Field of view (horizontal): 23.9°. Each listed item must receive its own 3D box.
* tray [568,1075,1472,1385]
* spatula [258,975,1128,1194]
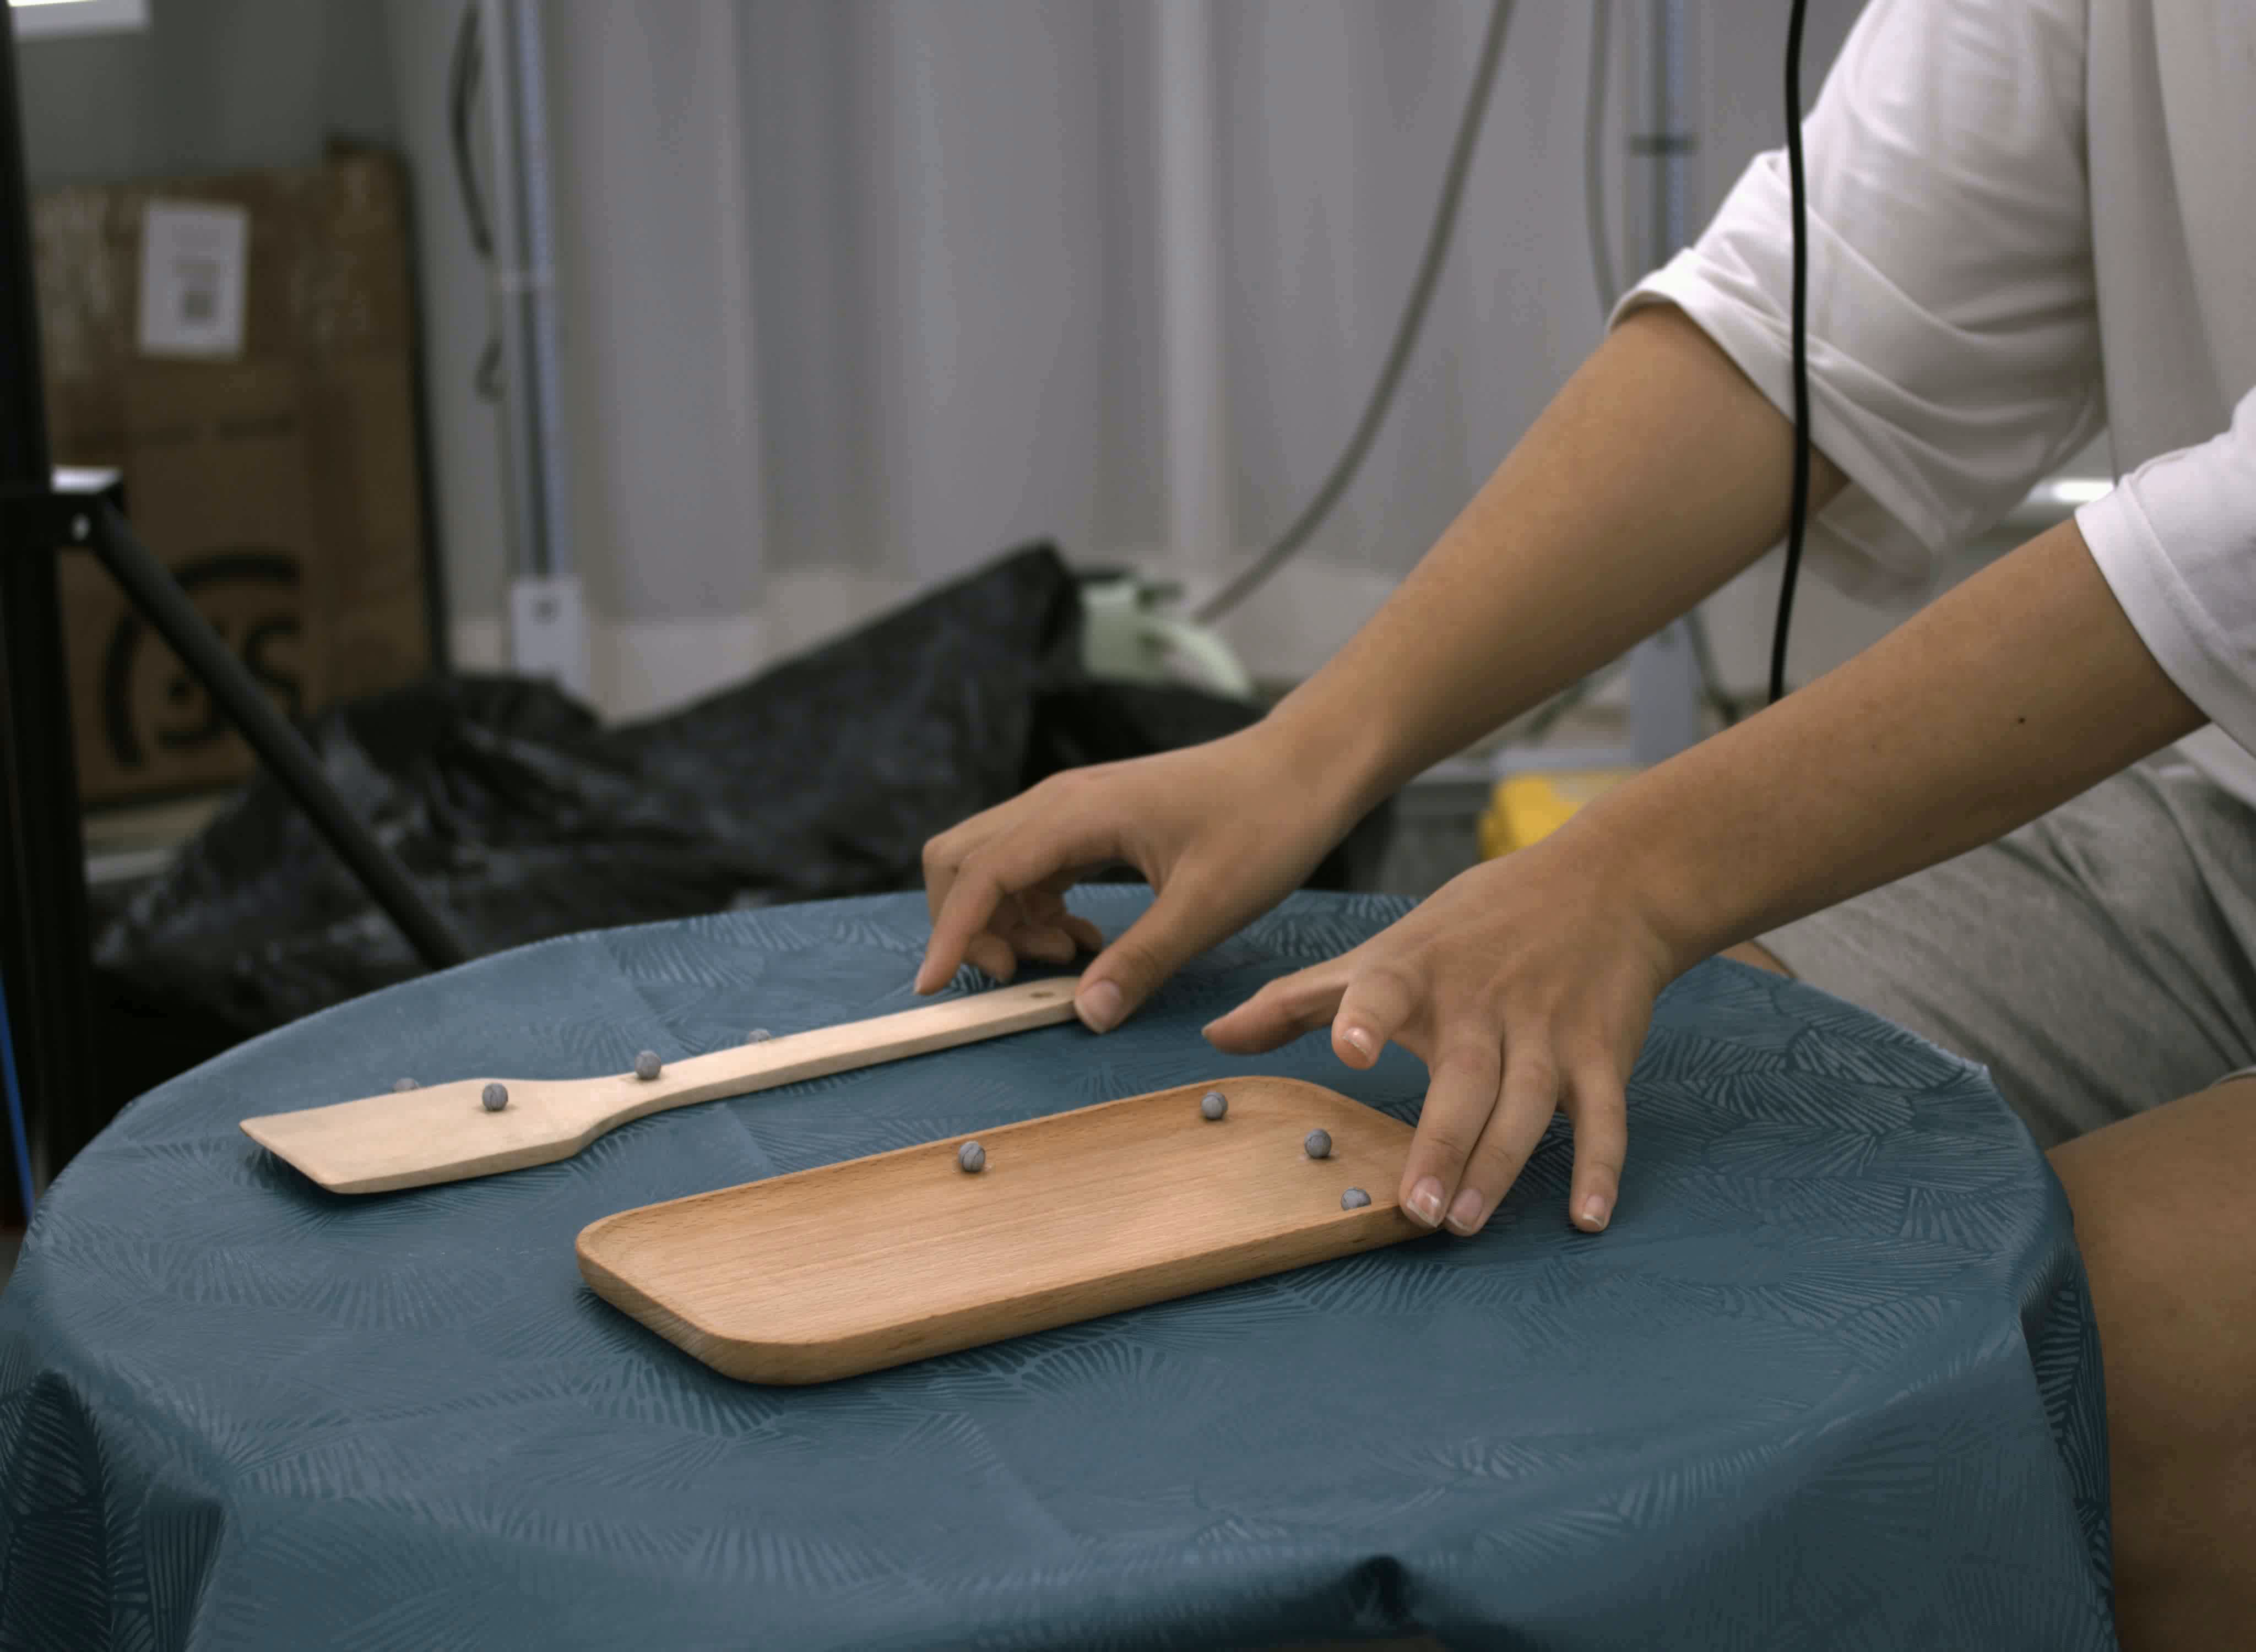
[{"bbox_3d":[-0.029,0.114,1.515,0.245,0.023,0.133,-11,15,-27],"label":"tray"},{"bbox_3d":[-0.127,0.078,1.670,0.286,0.010,0.074,-11,18,-28],"label":"spatula"}]
